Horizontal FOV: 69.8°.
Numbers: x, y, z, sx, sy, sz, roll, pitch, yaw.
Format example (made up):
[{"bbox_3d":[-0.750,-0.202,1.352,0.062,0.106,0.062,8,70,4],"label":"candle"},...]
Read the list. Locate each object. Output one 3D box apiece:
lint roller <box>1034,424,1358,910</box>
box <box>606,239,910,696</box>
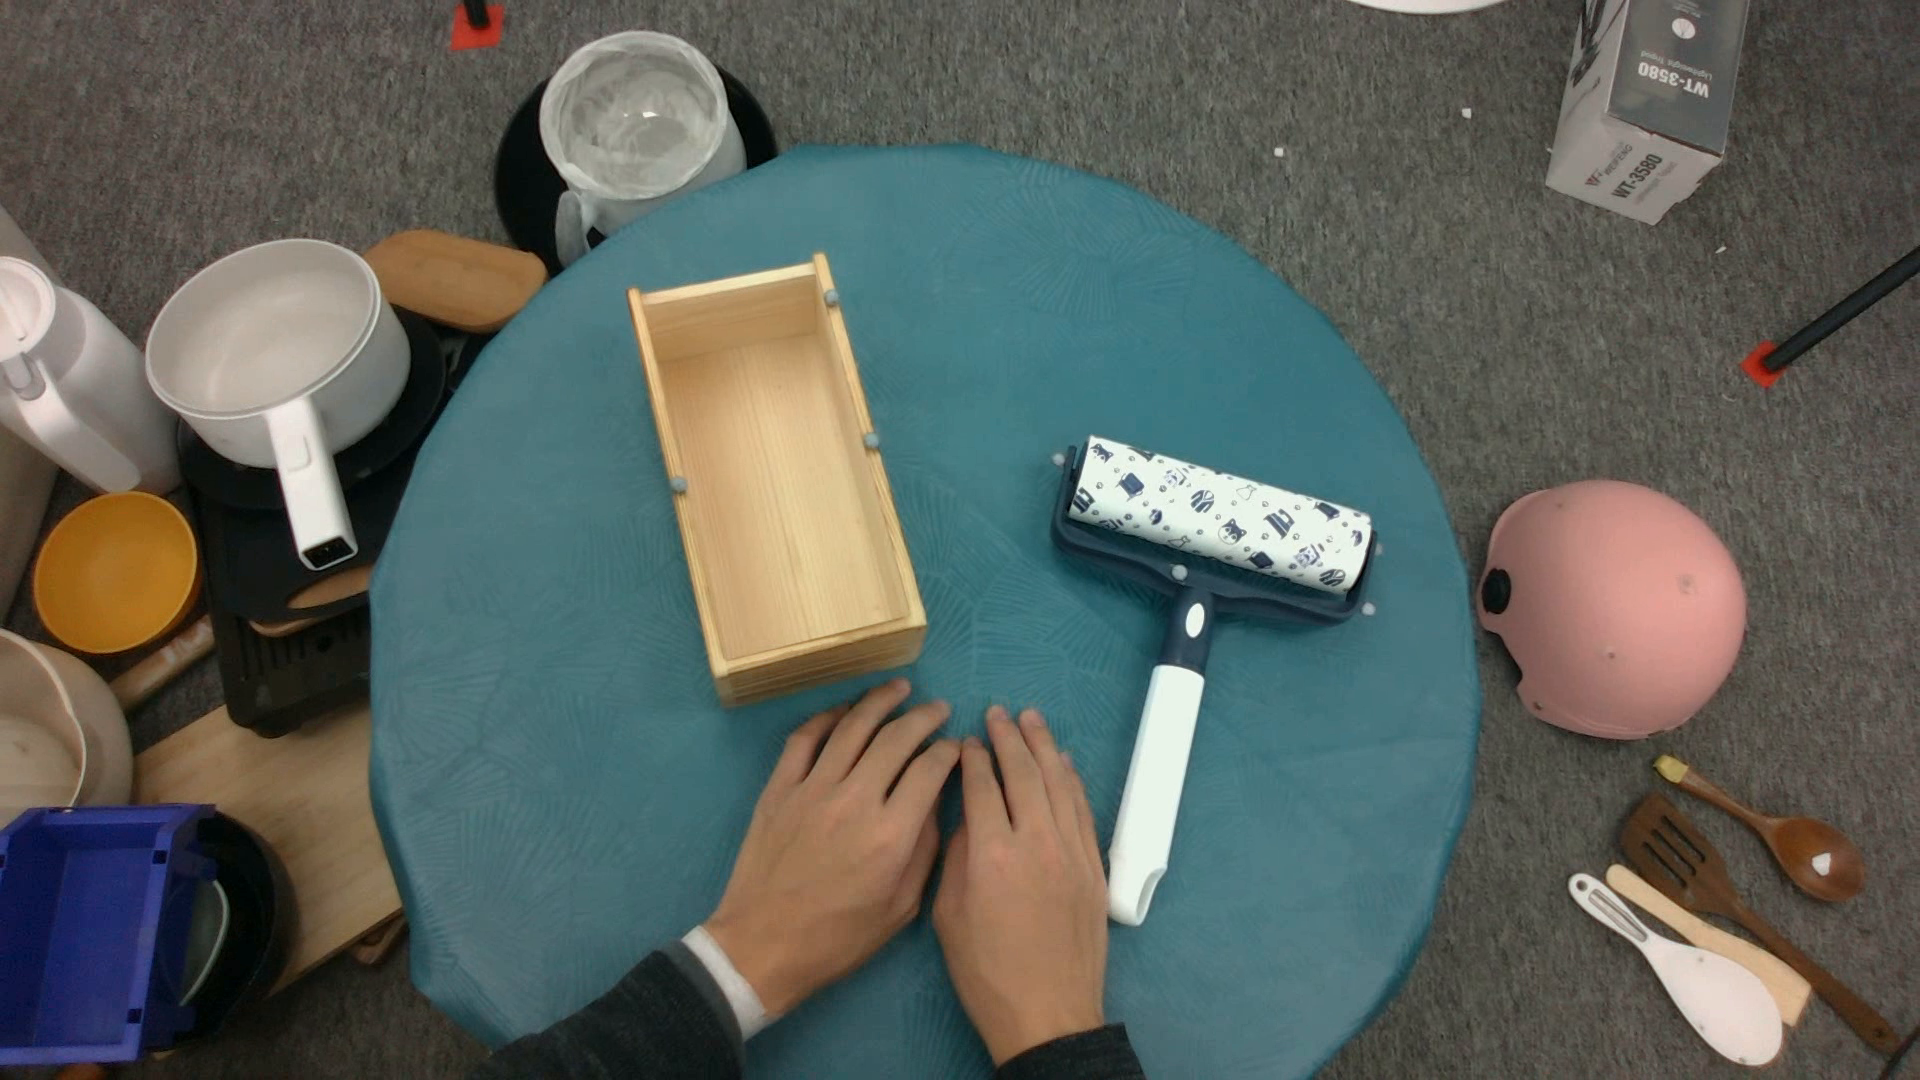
[{"bbox_3d":[0.108,0.071,0.729,0.176,0.050,0.248,15,71,-2],"label":"lint roller"},{"bbox_3d":[-0.107,-0.038,0.723,0.107,0.080,0.212,-14,73,-11],"label":"box"}]
